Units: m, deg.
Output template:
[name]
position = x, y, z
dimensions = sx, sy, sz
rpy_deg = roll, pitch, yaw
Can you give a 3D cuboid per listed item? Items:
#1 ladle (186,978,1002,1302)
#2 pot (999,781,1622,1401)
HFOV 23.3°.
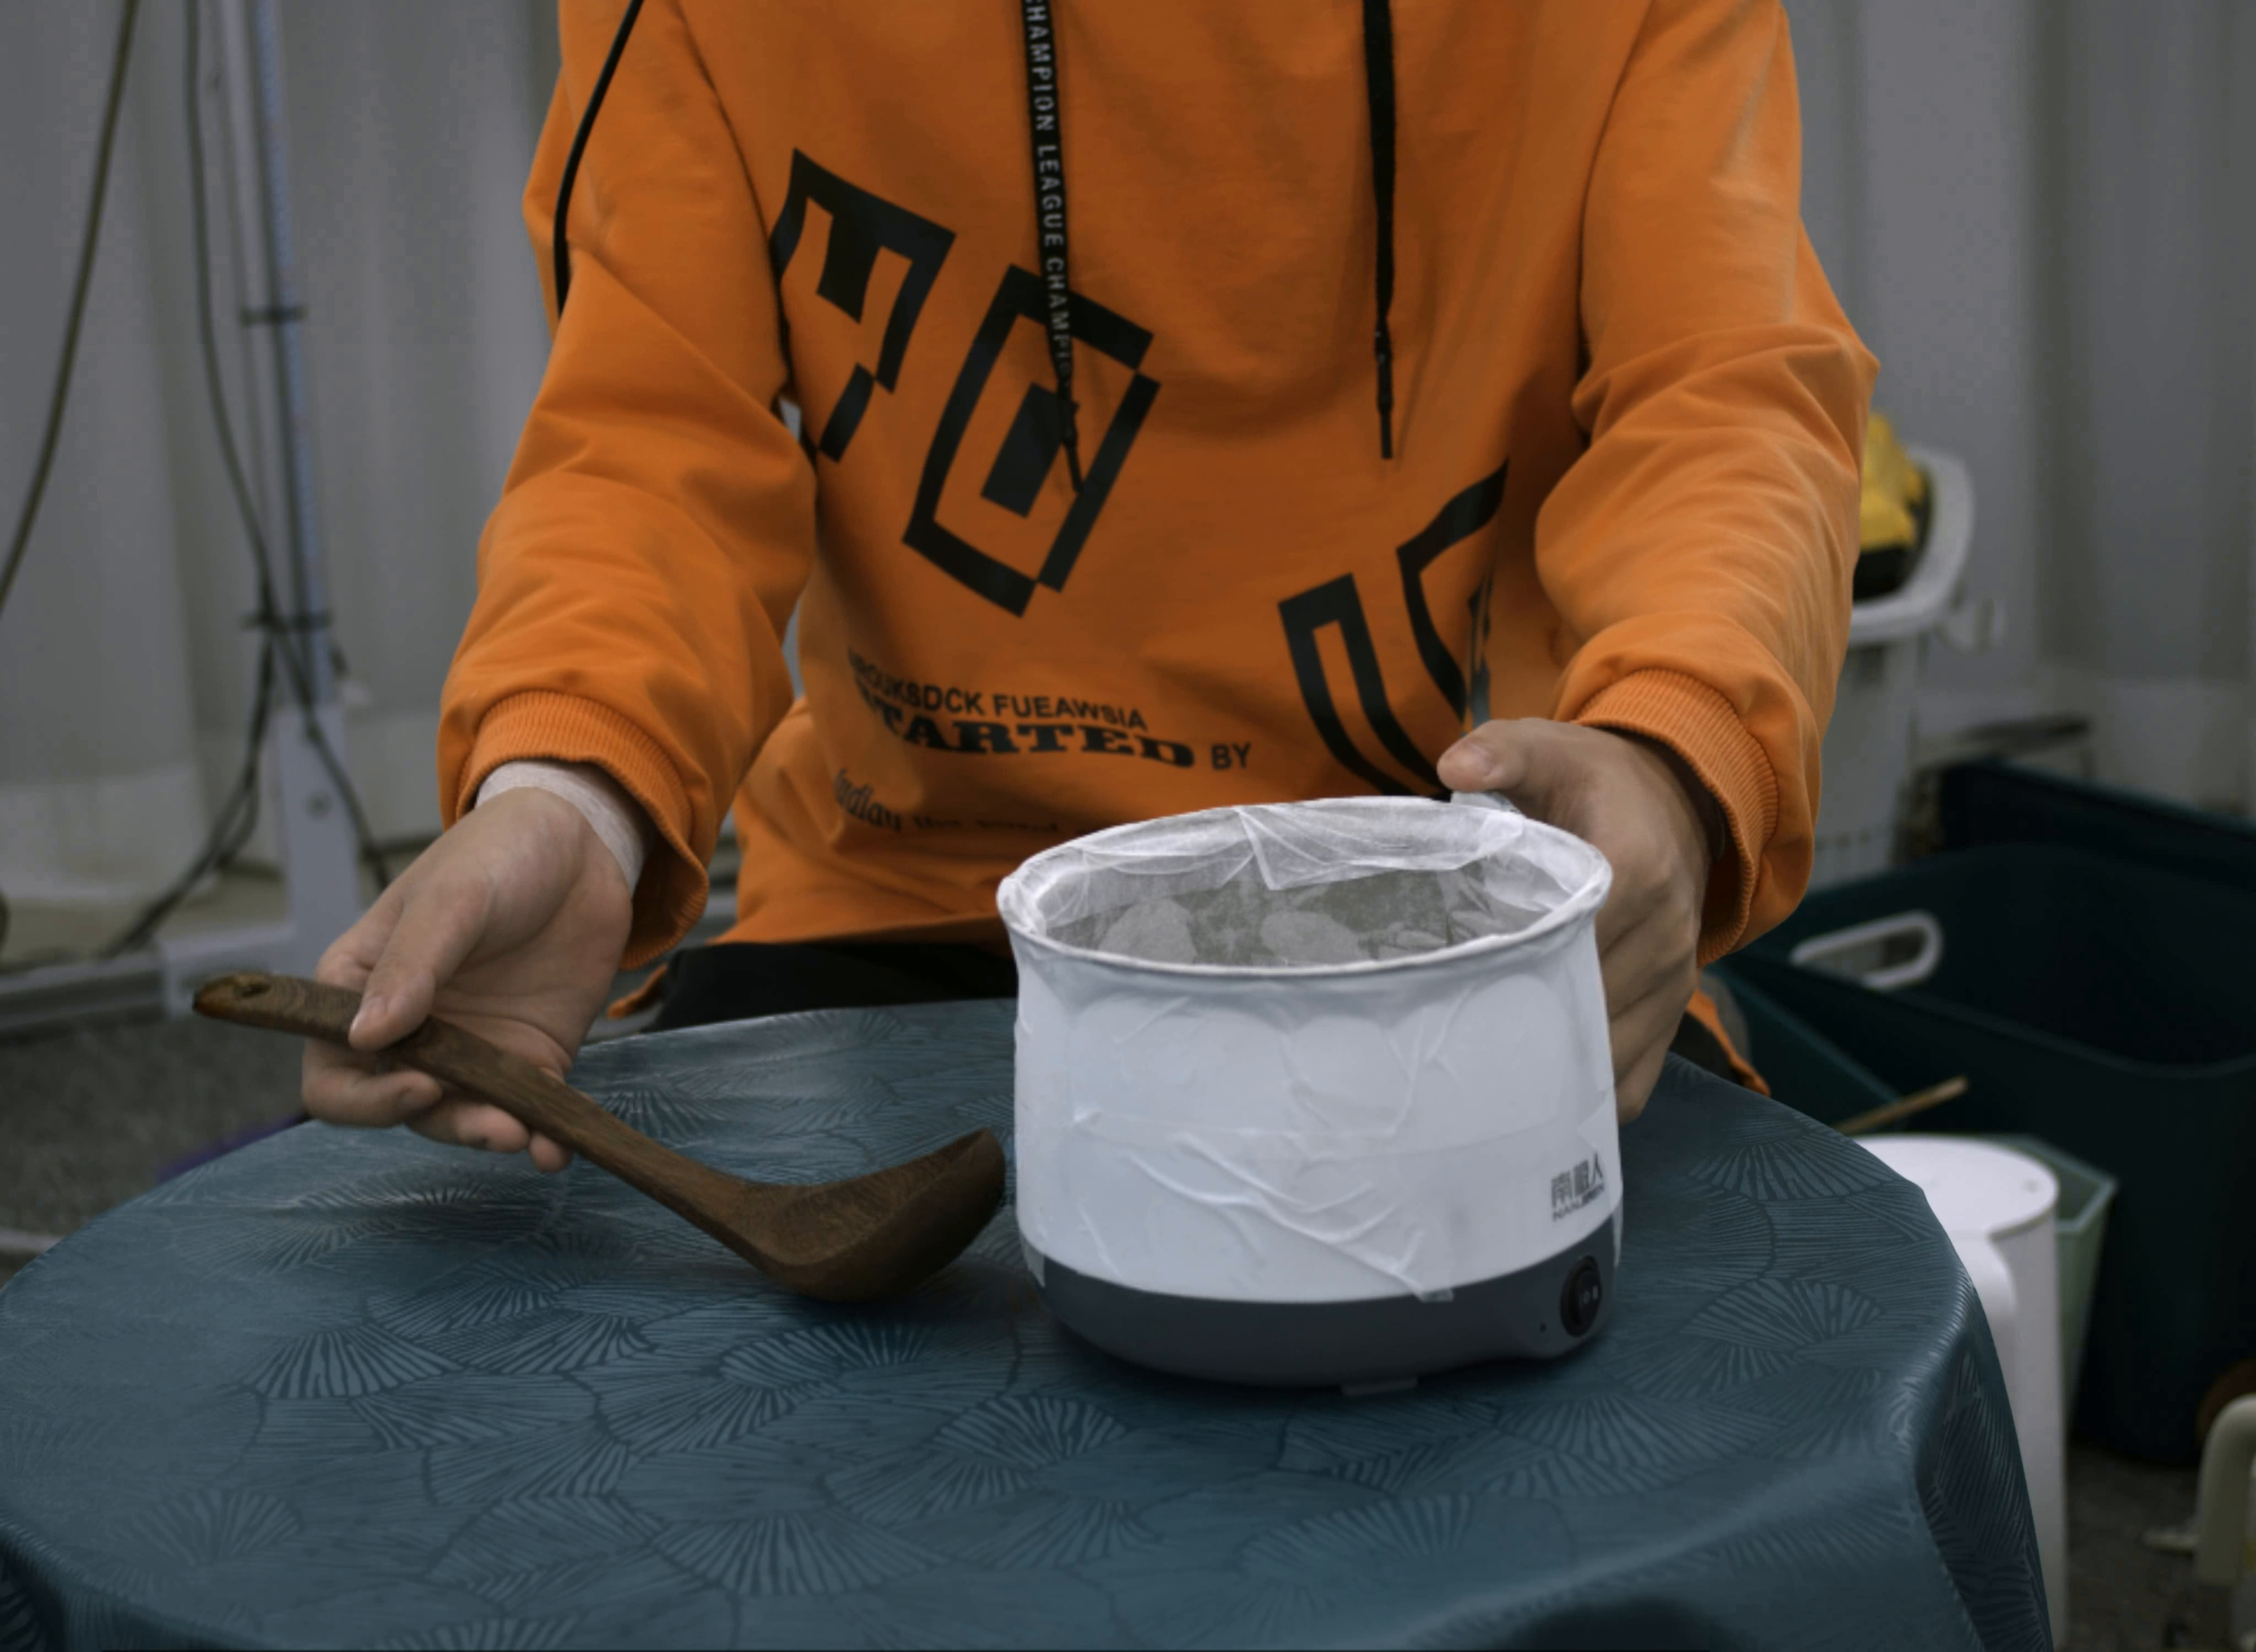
[ladle]
position = -0.165, 0.076, 1.663
dimensions = 0.275, 0.071, 0.076
rpy_deg = 23, 28, 19
[pot]
position = 0.068, 0.070, 1.604
dimensions = 0.179, 0.136, 0.234
rpy_deg = 7, 18, 32
